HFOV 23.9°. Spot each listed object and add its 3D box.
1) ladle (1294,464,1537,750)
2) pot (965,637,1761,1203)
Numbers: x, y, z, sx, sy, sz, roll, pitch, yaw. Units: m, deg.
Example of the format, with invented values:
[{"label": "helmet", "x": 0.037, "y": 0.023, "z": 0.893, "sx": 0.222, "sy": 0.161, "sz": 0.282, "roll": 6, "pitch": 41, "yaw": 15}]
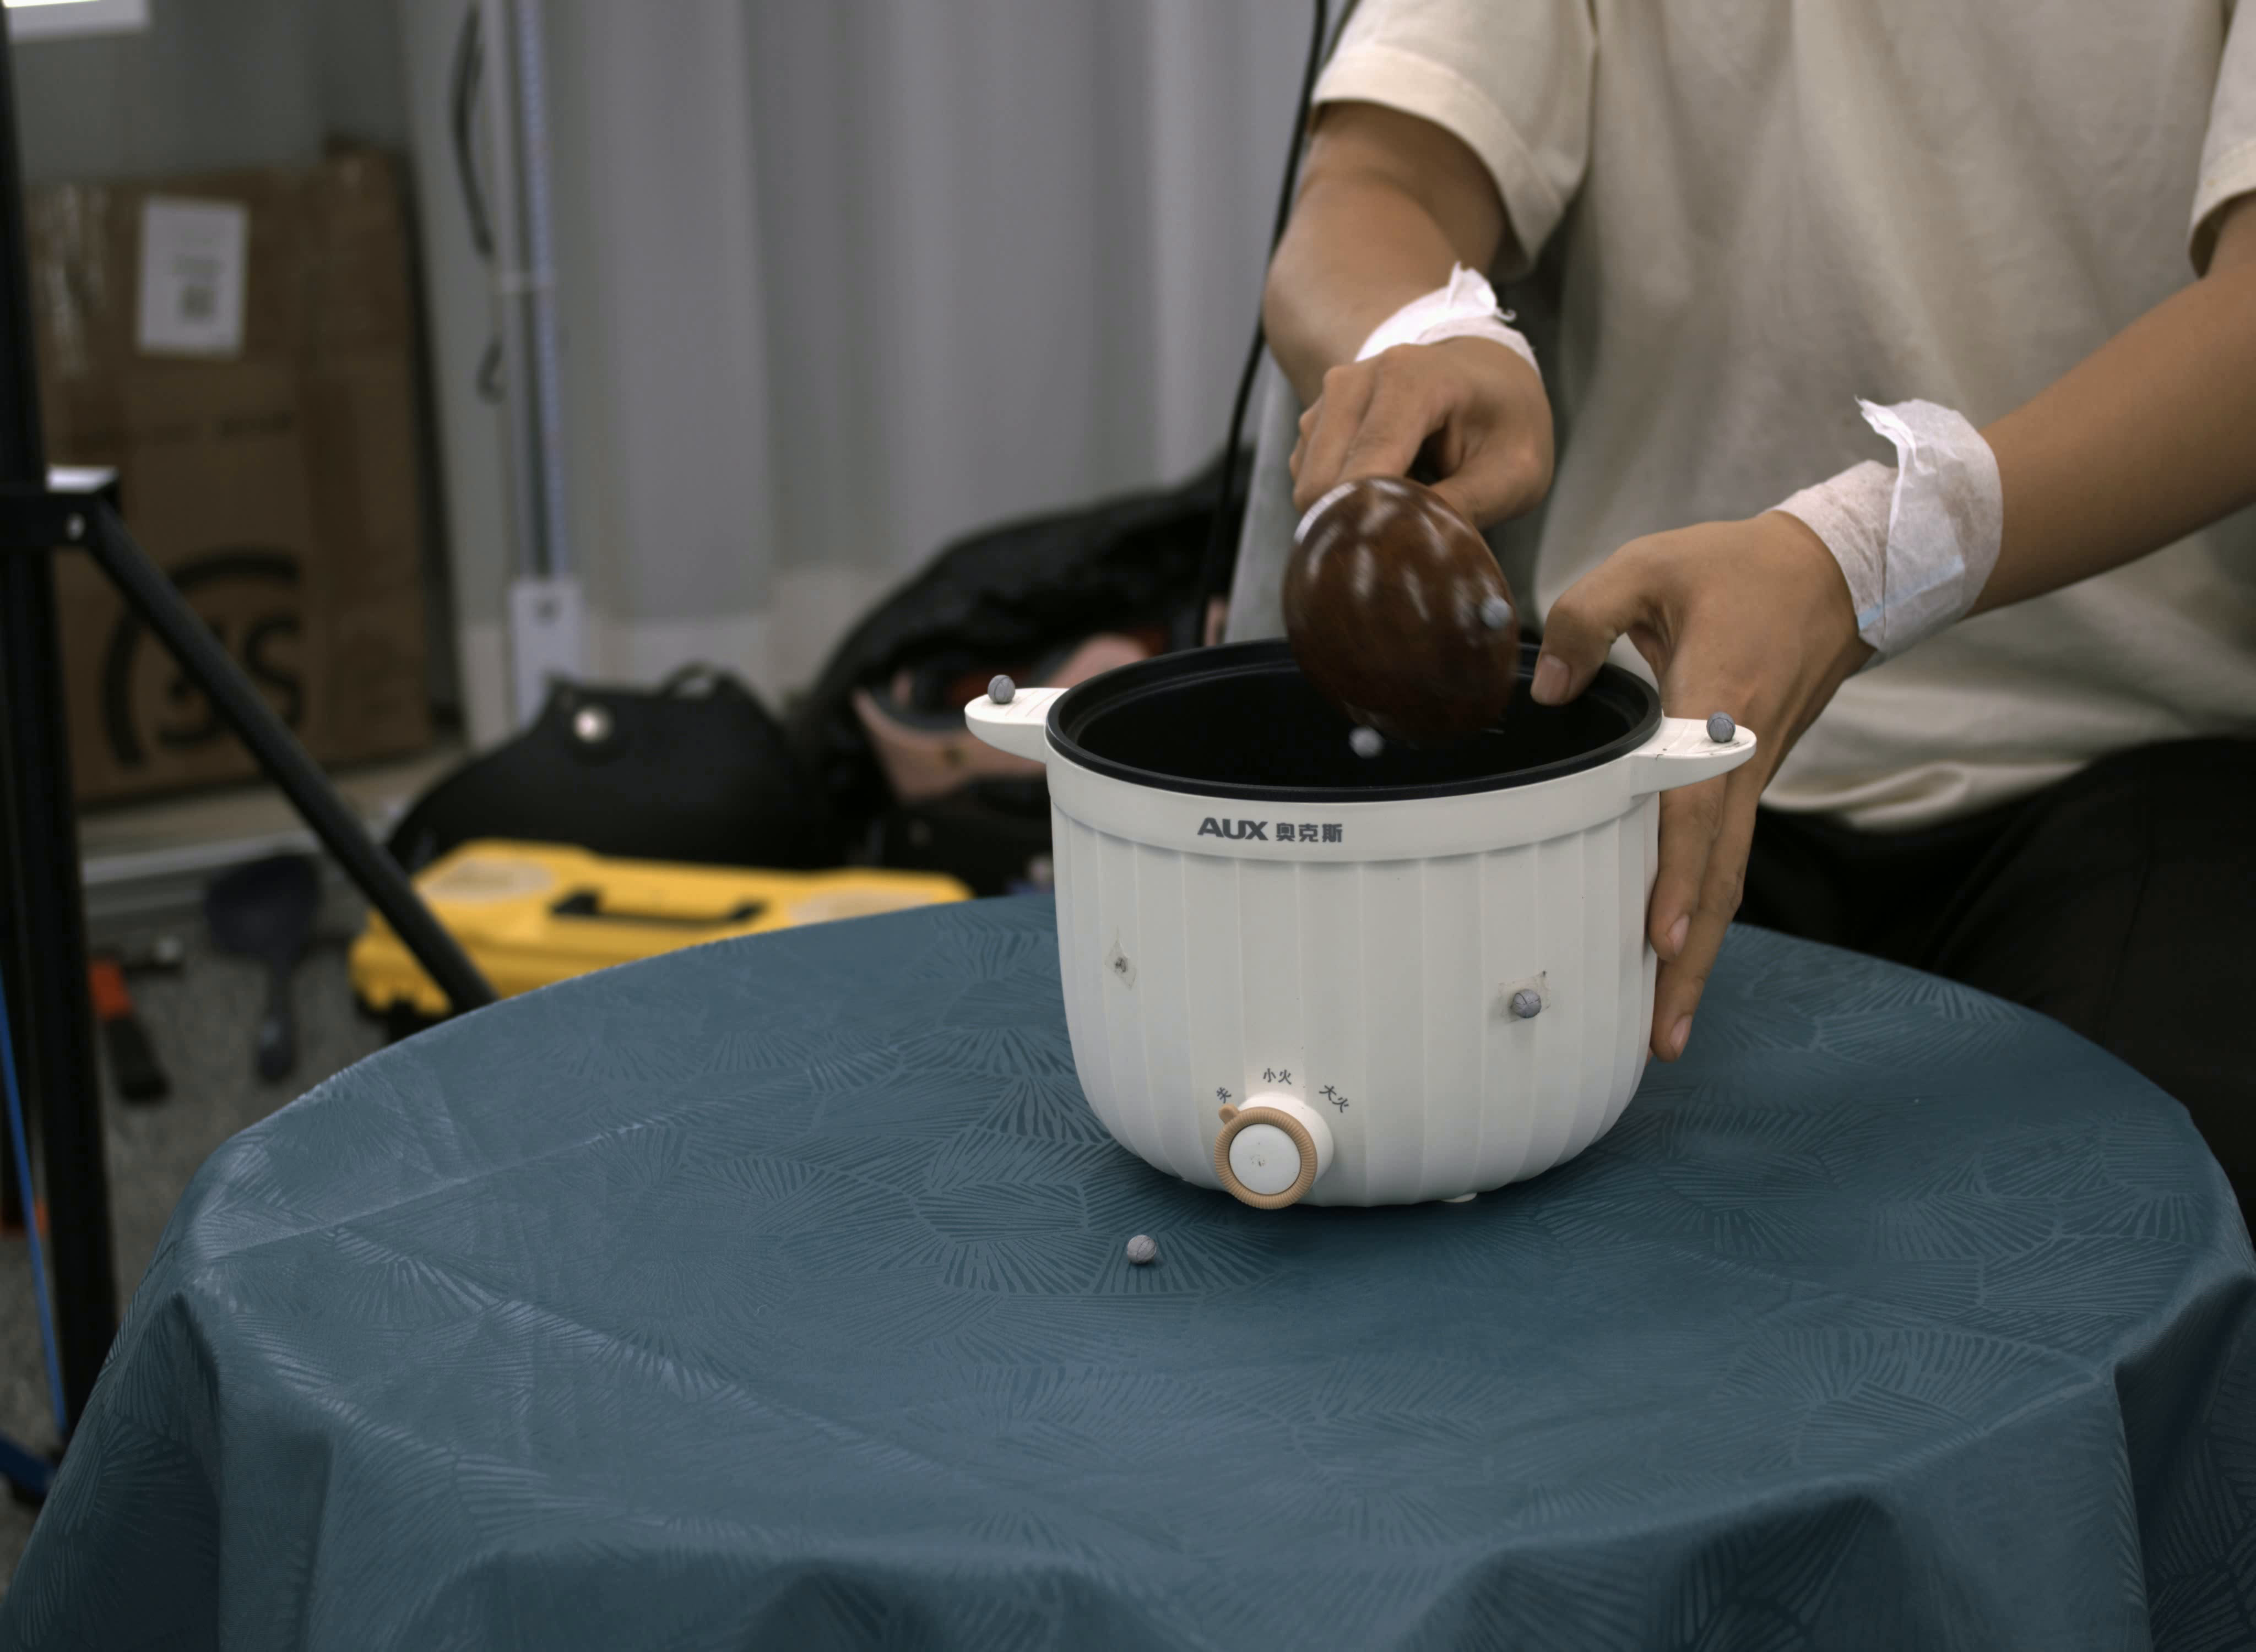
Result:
[{"label": "ladle", "x": 0.098, "y": -0.083, "z": 1.603, "sx": 0.077, "sy": 0.082, "sz": 0.272, "roll": -9, "pitch": 10, "yaw": 12}, {"label": "pot", "x": 0.067, "y": 0.030, "z": 1.566, "sx": 0.243, "sy": 0.143, "sz": 0.188, "roll": 2, "pitch": 12, "yaw": 19}]
